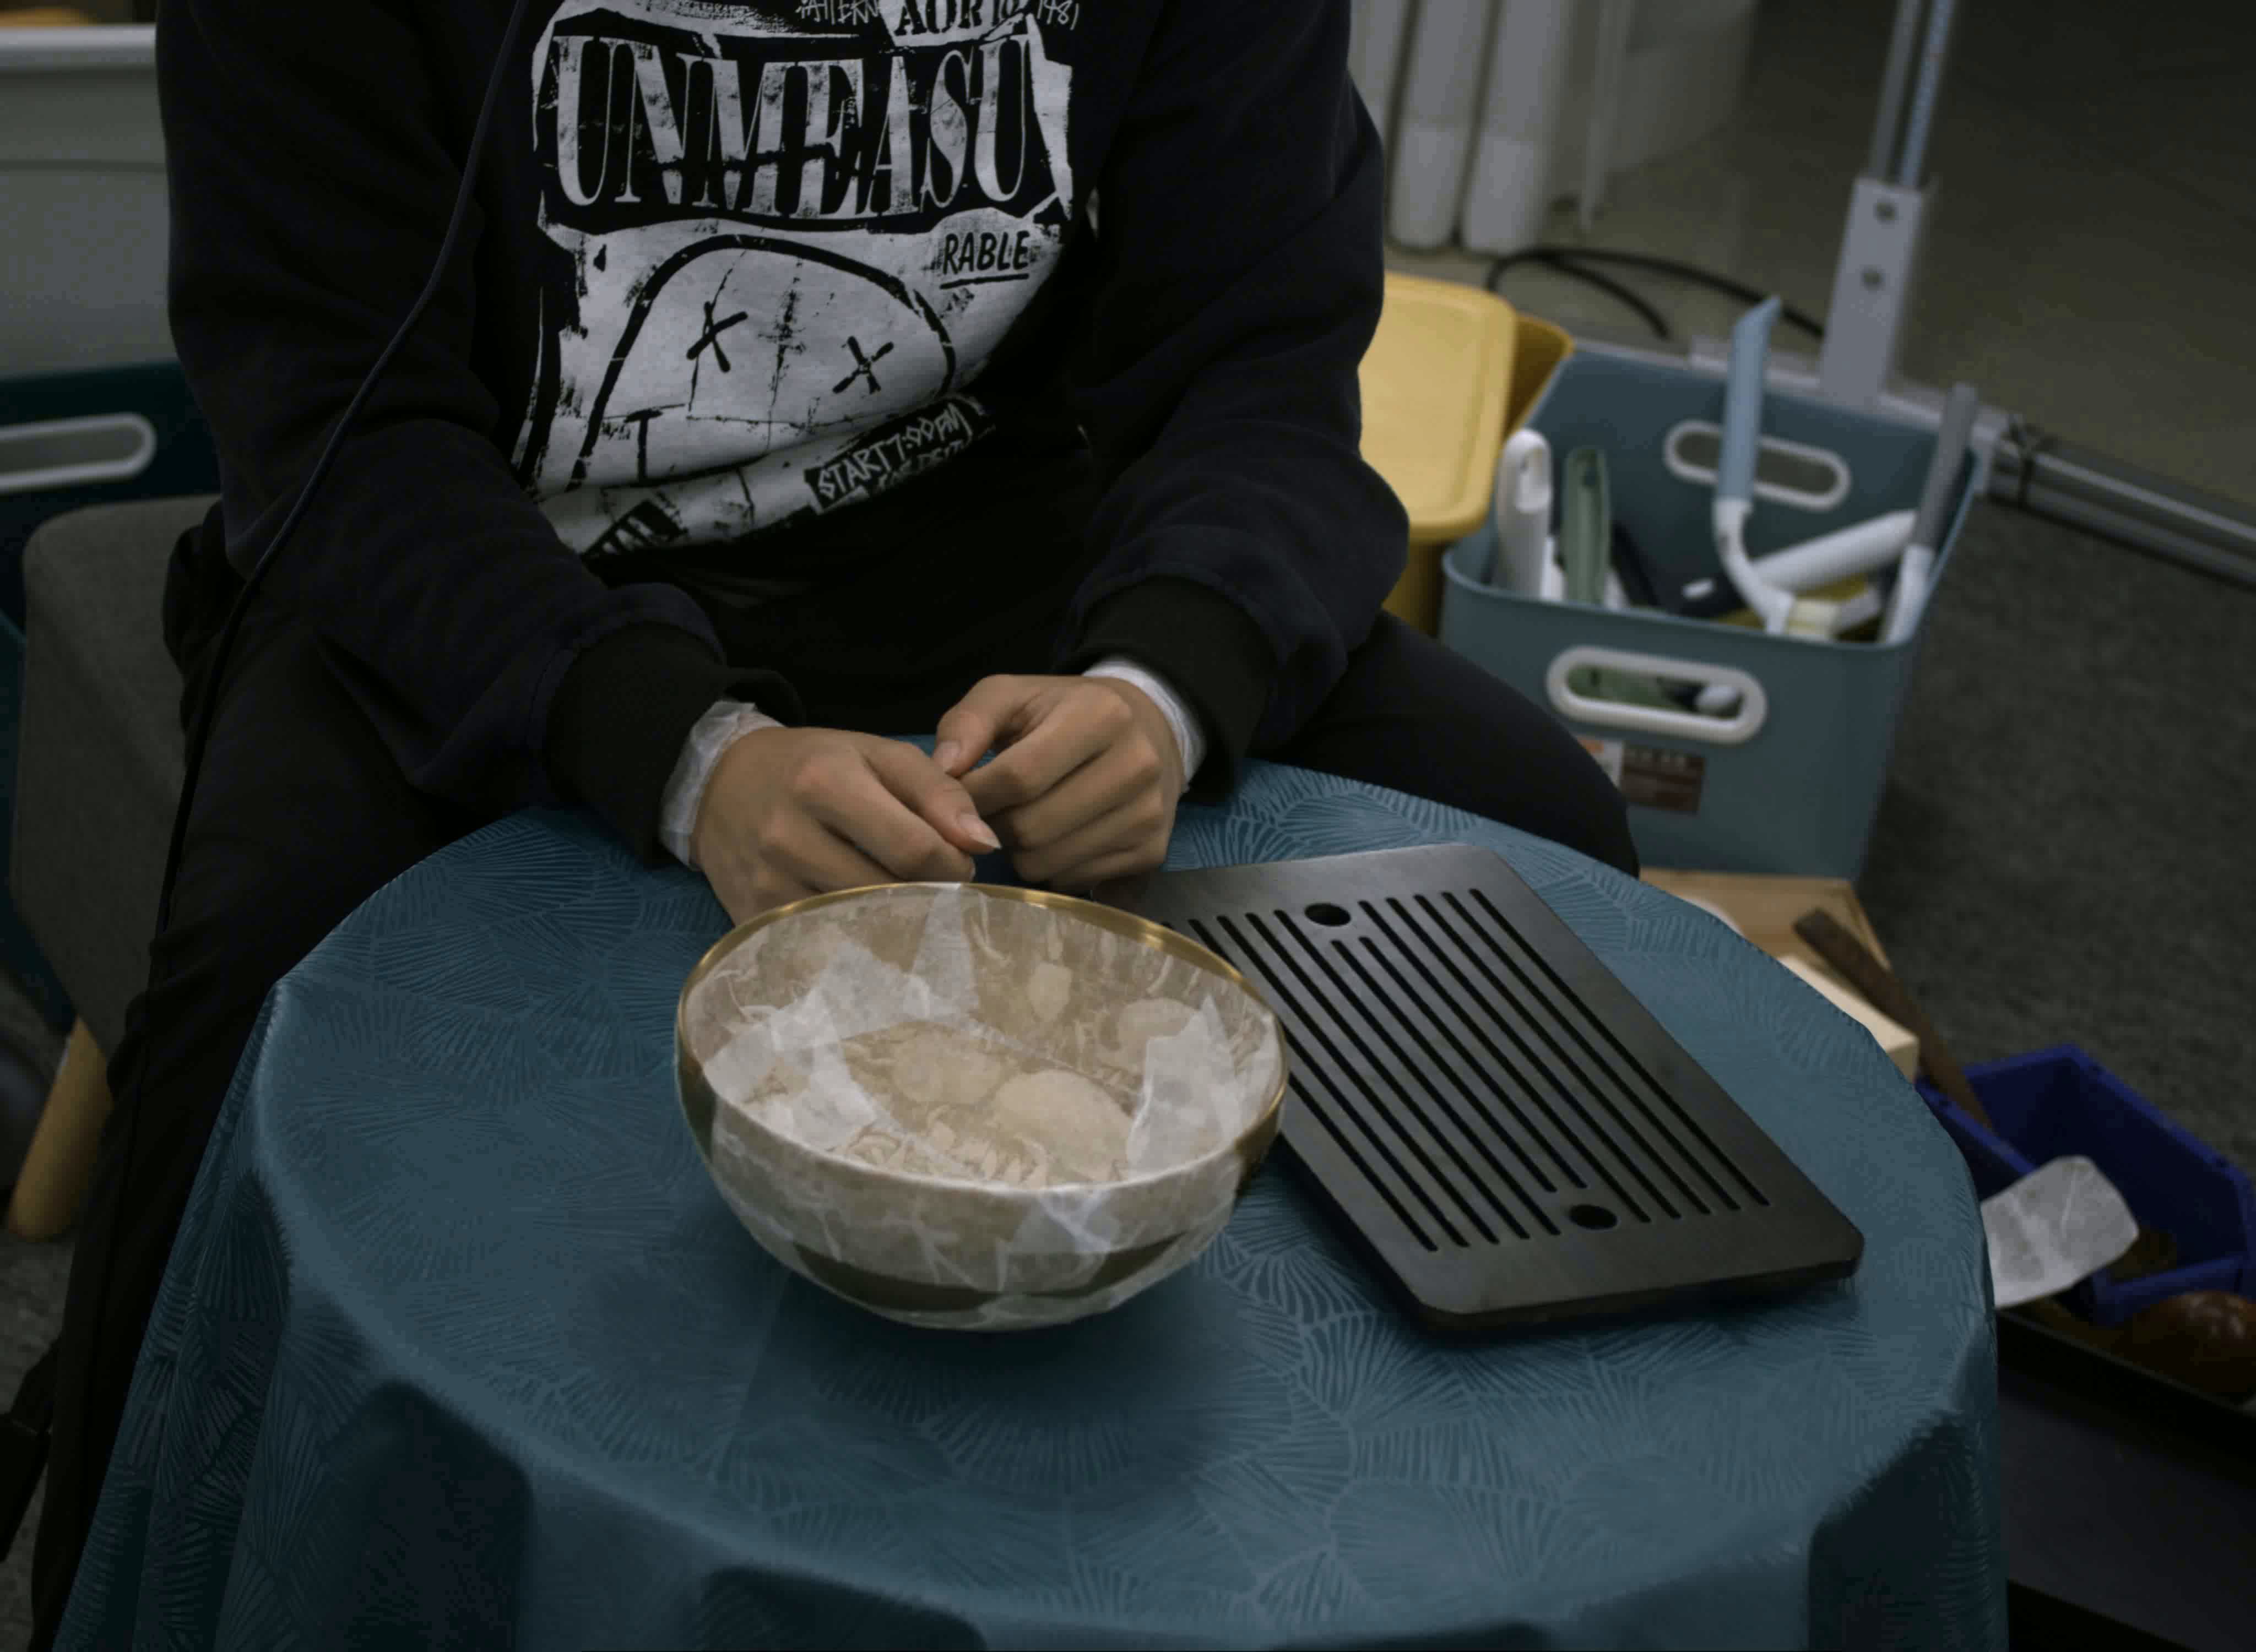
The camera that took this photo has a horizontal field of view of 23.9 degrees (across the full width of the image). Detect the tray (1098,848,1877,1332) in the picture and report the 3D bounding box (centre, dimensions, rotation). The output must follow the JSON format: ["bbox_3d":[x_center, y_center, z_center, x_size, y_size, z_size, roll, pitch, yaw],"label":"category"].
[{"bbox_3d":[0.120,0.090,1.875,0.169,0.018,0.309,-5,29,-23],"label":"tray"}]

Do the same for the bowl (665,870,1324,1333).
[{"bbox_3d":[-0.048,0.102,1.730,0.214,0.094,0.216,4,27,-2],"label":"bowl"}]
